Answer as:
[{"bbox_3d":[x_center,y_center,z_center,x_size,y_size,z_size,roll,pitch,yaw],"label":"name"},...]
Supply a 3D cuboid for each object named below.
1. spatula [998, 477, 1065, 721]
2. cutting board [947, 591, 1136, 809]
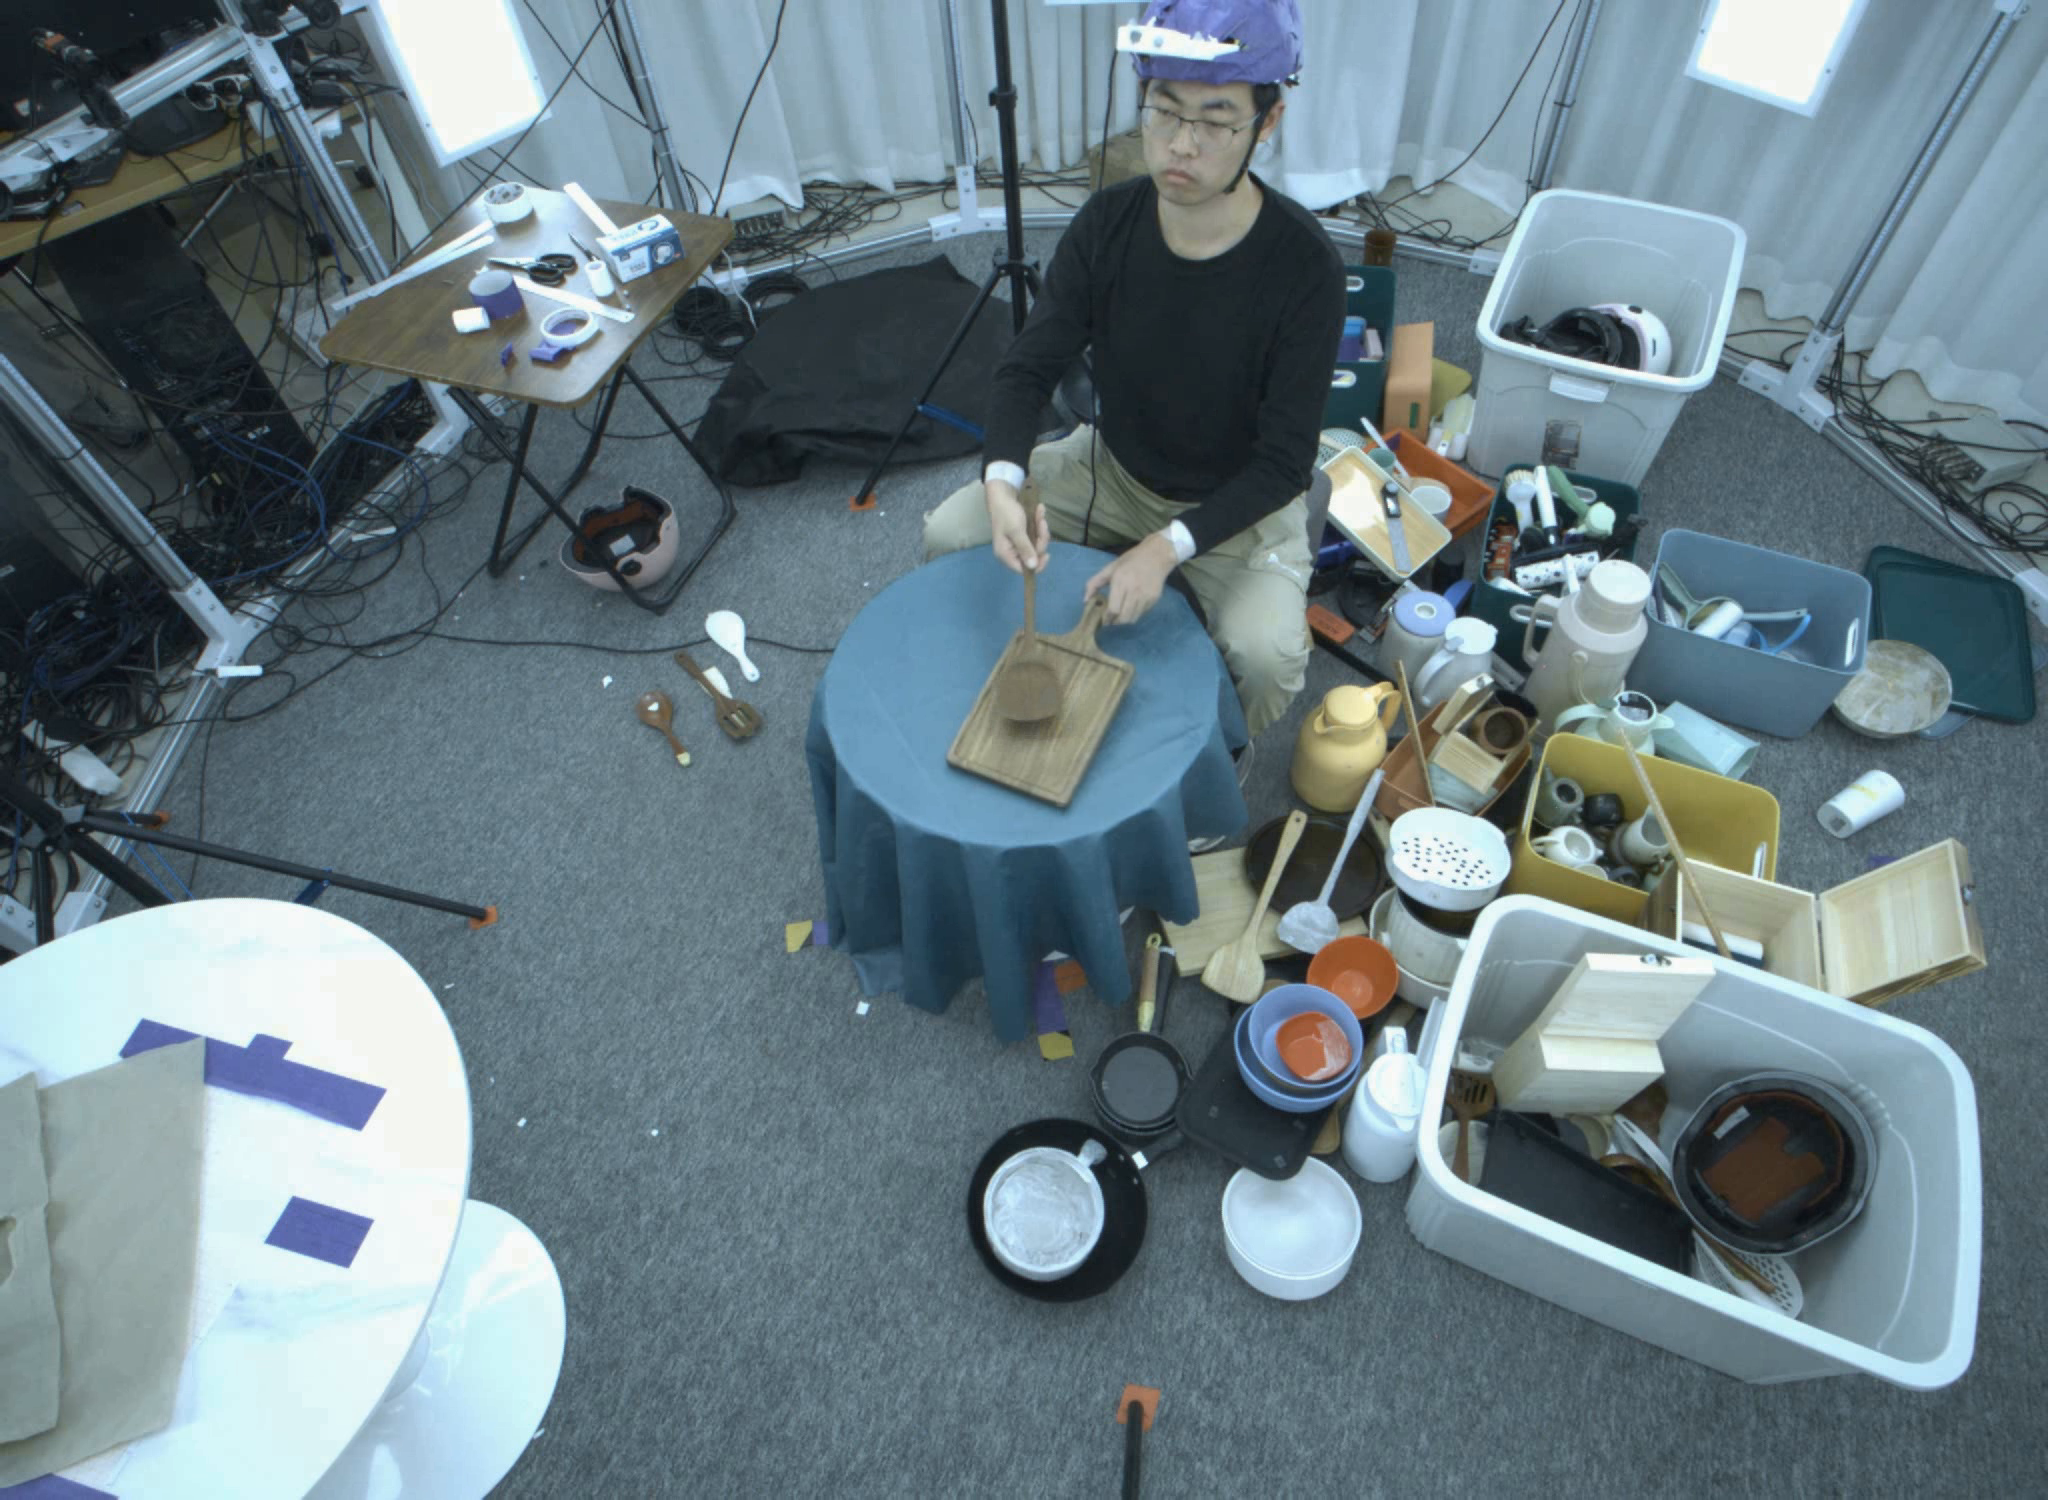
[{"bbox_3d":[0.008,-0.227,1.794,0.096,0.016,0.384,-2,77,5],"label":"spatula"},{"bbox_3d":[0.047,-0.092,1.808,0.198,0.023,0.352,20,66,15],"label":"cutting board"}]
